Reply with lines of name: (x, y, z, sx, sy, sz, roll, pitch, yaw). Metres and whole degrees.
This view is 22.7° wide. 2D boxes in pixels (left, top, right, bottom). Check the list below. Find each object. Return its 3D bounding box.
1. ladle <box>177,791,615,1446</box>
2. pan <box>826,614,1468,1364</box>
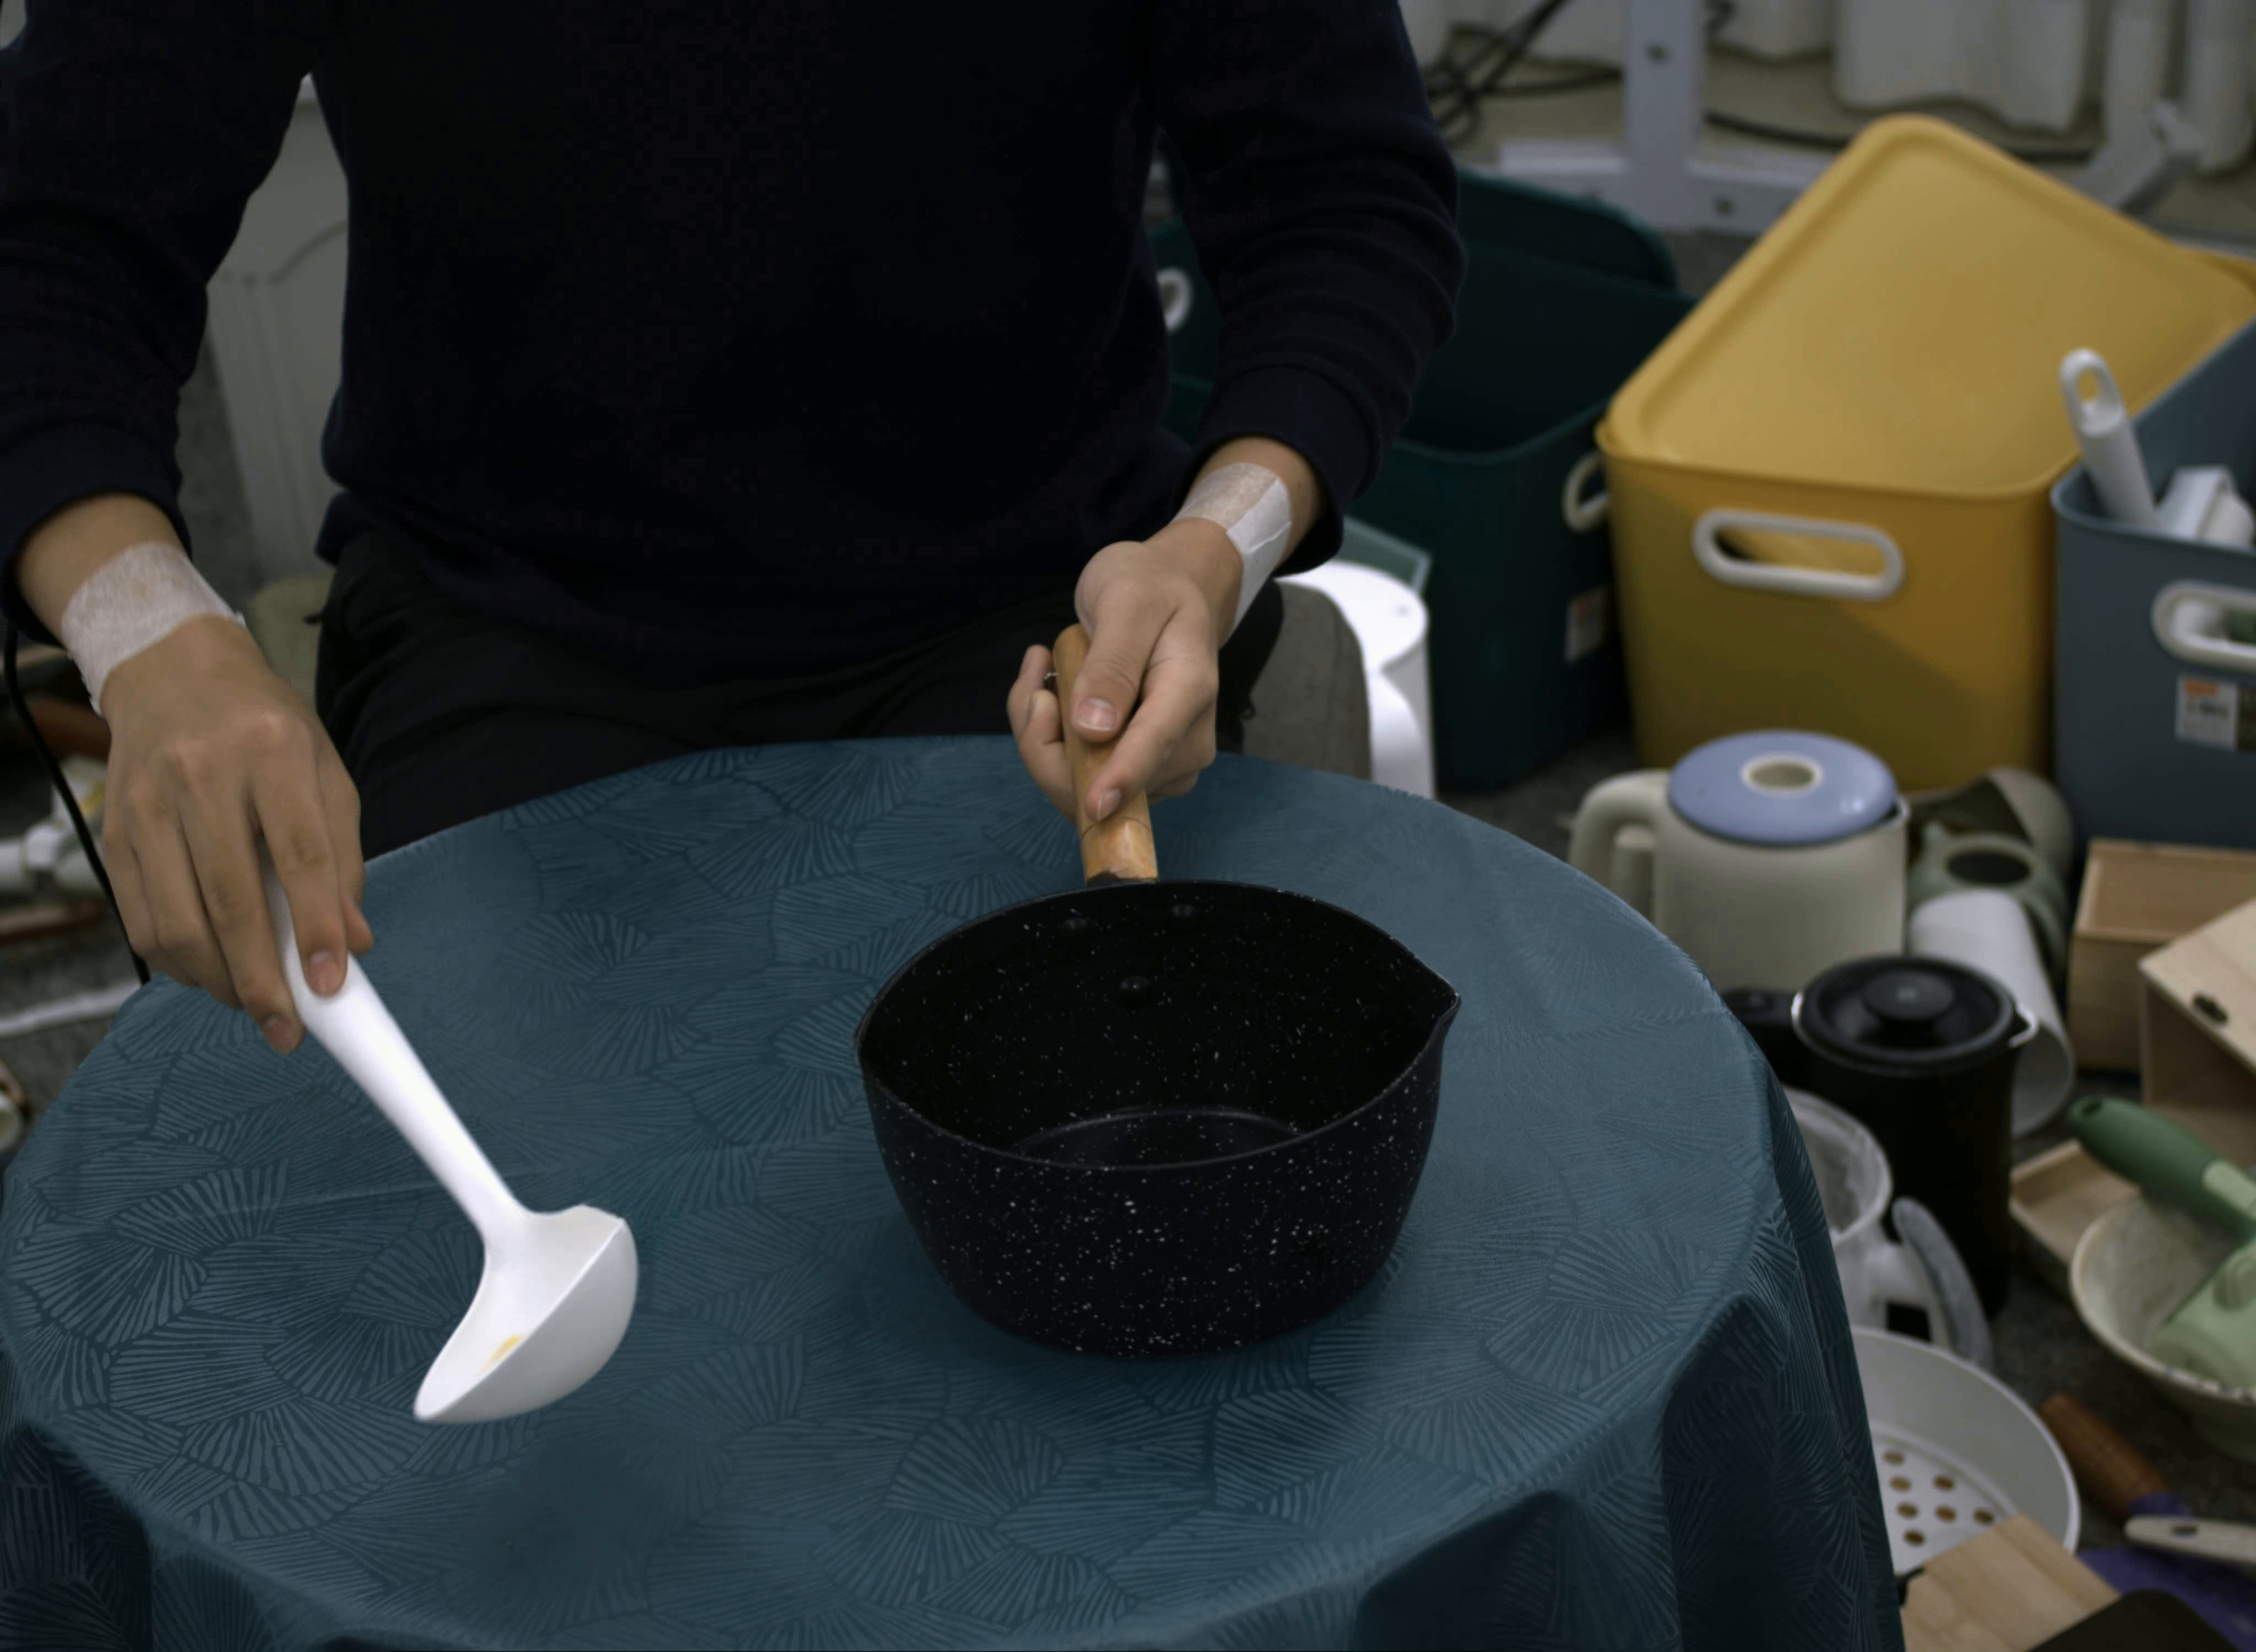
ladle: (-0.239, 0.082, 1.752, 0.070, 0.089, 0.296, 27, 18, -48)
pan: (0.000, 0.051, 1.883, 0.207, 0.107, 0.347, -6, 29, -4)
